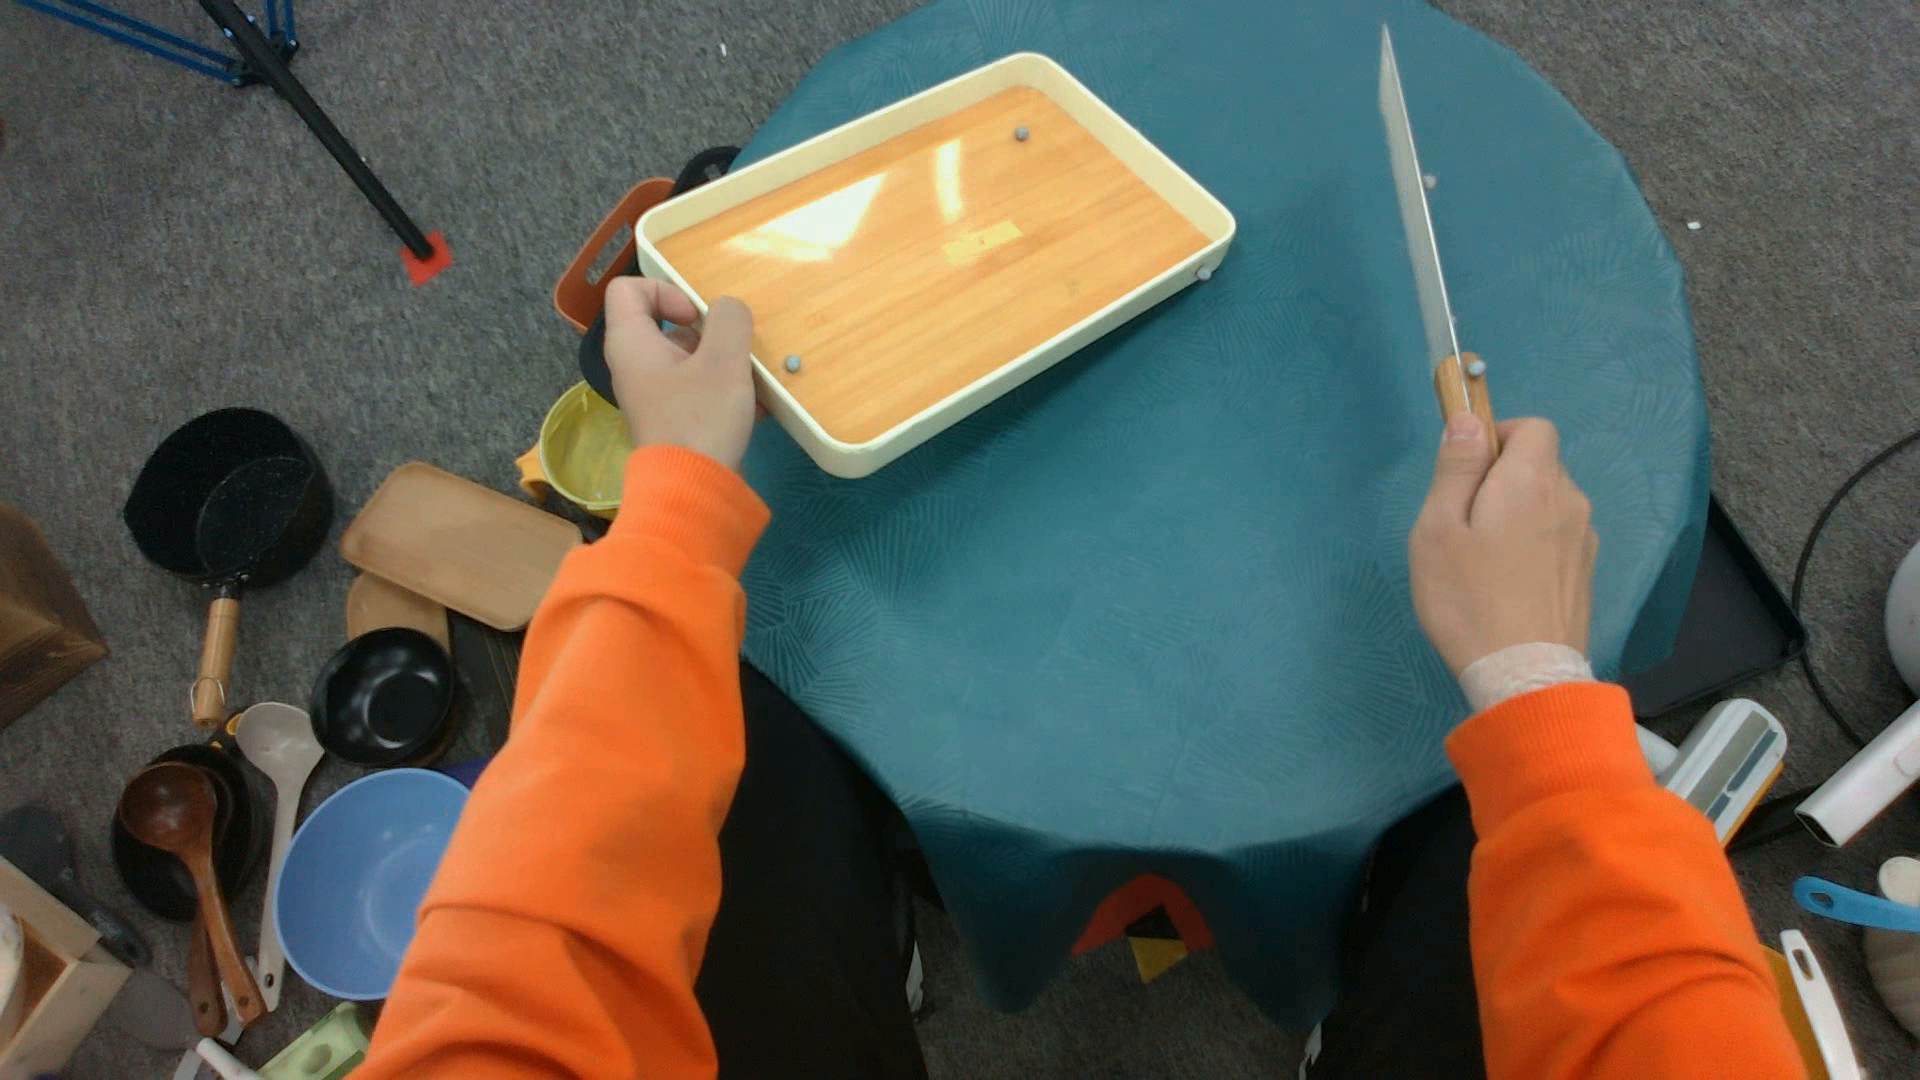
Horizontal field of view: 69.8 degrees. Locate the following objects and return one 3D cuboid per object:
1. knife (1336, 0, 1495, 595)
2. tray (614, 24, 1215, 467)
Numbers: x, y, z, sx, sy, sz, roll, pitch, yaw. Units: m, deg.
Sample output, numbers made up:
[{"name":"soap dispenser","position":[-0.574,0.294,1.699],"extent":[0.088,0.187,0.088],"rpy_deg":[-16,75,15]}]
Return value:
[{"name":"knife","position":[0.221,-0.120,0.691],"extent":[0.021,0.093,0.306],"rpy_deg":[-9,81,6]},{"name":"tray","position":[-0.017,-0.176,0.763],"extent":[0.301,0.027,0.192],"rpy_deg":[-35,72,-28]}]
